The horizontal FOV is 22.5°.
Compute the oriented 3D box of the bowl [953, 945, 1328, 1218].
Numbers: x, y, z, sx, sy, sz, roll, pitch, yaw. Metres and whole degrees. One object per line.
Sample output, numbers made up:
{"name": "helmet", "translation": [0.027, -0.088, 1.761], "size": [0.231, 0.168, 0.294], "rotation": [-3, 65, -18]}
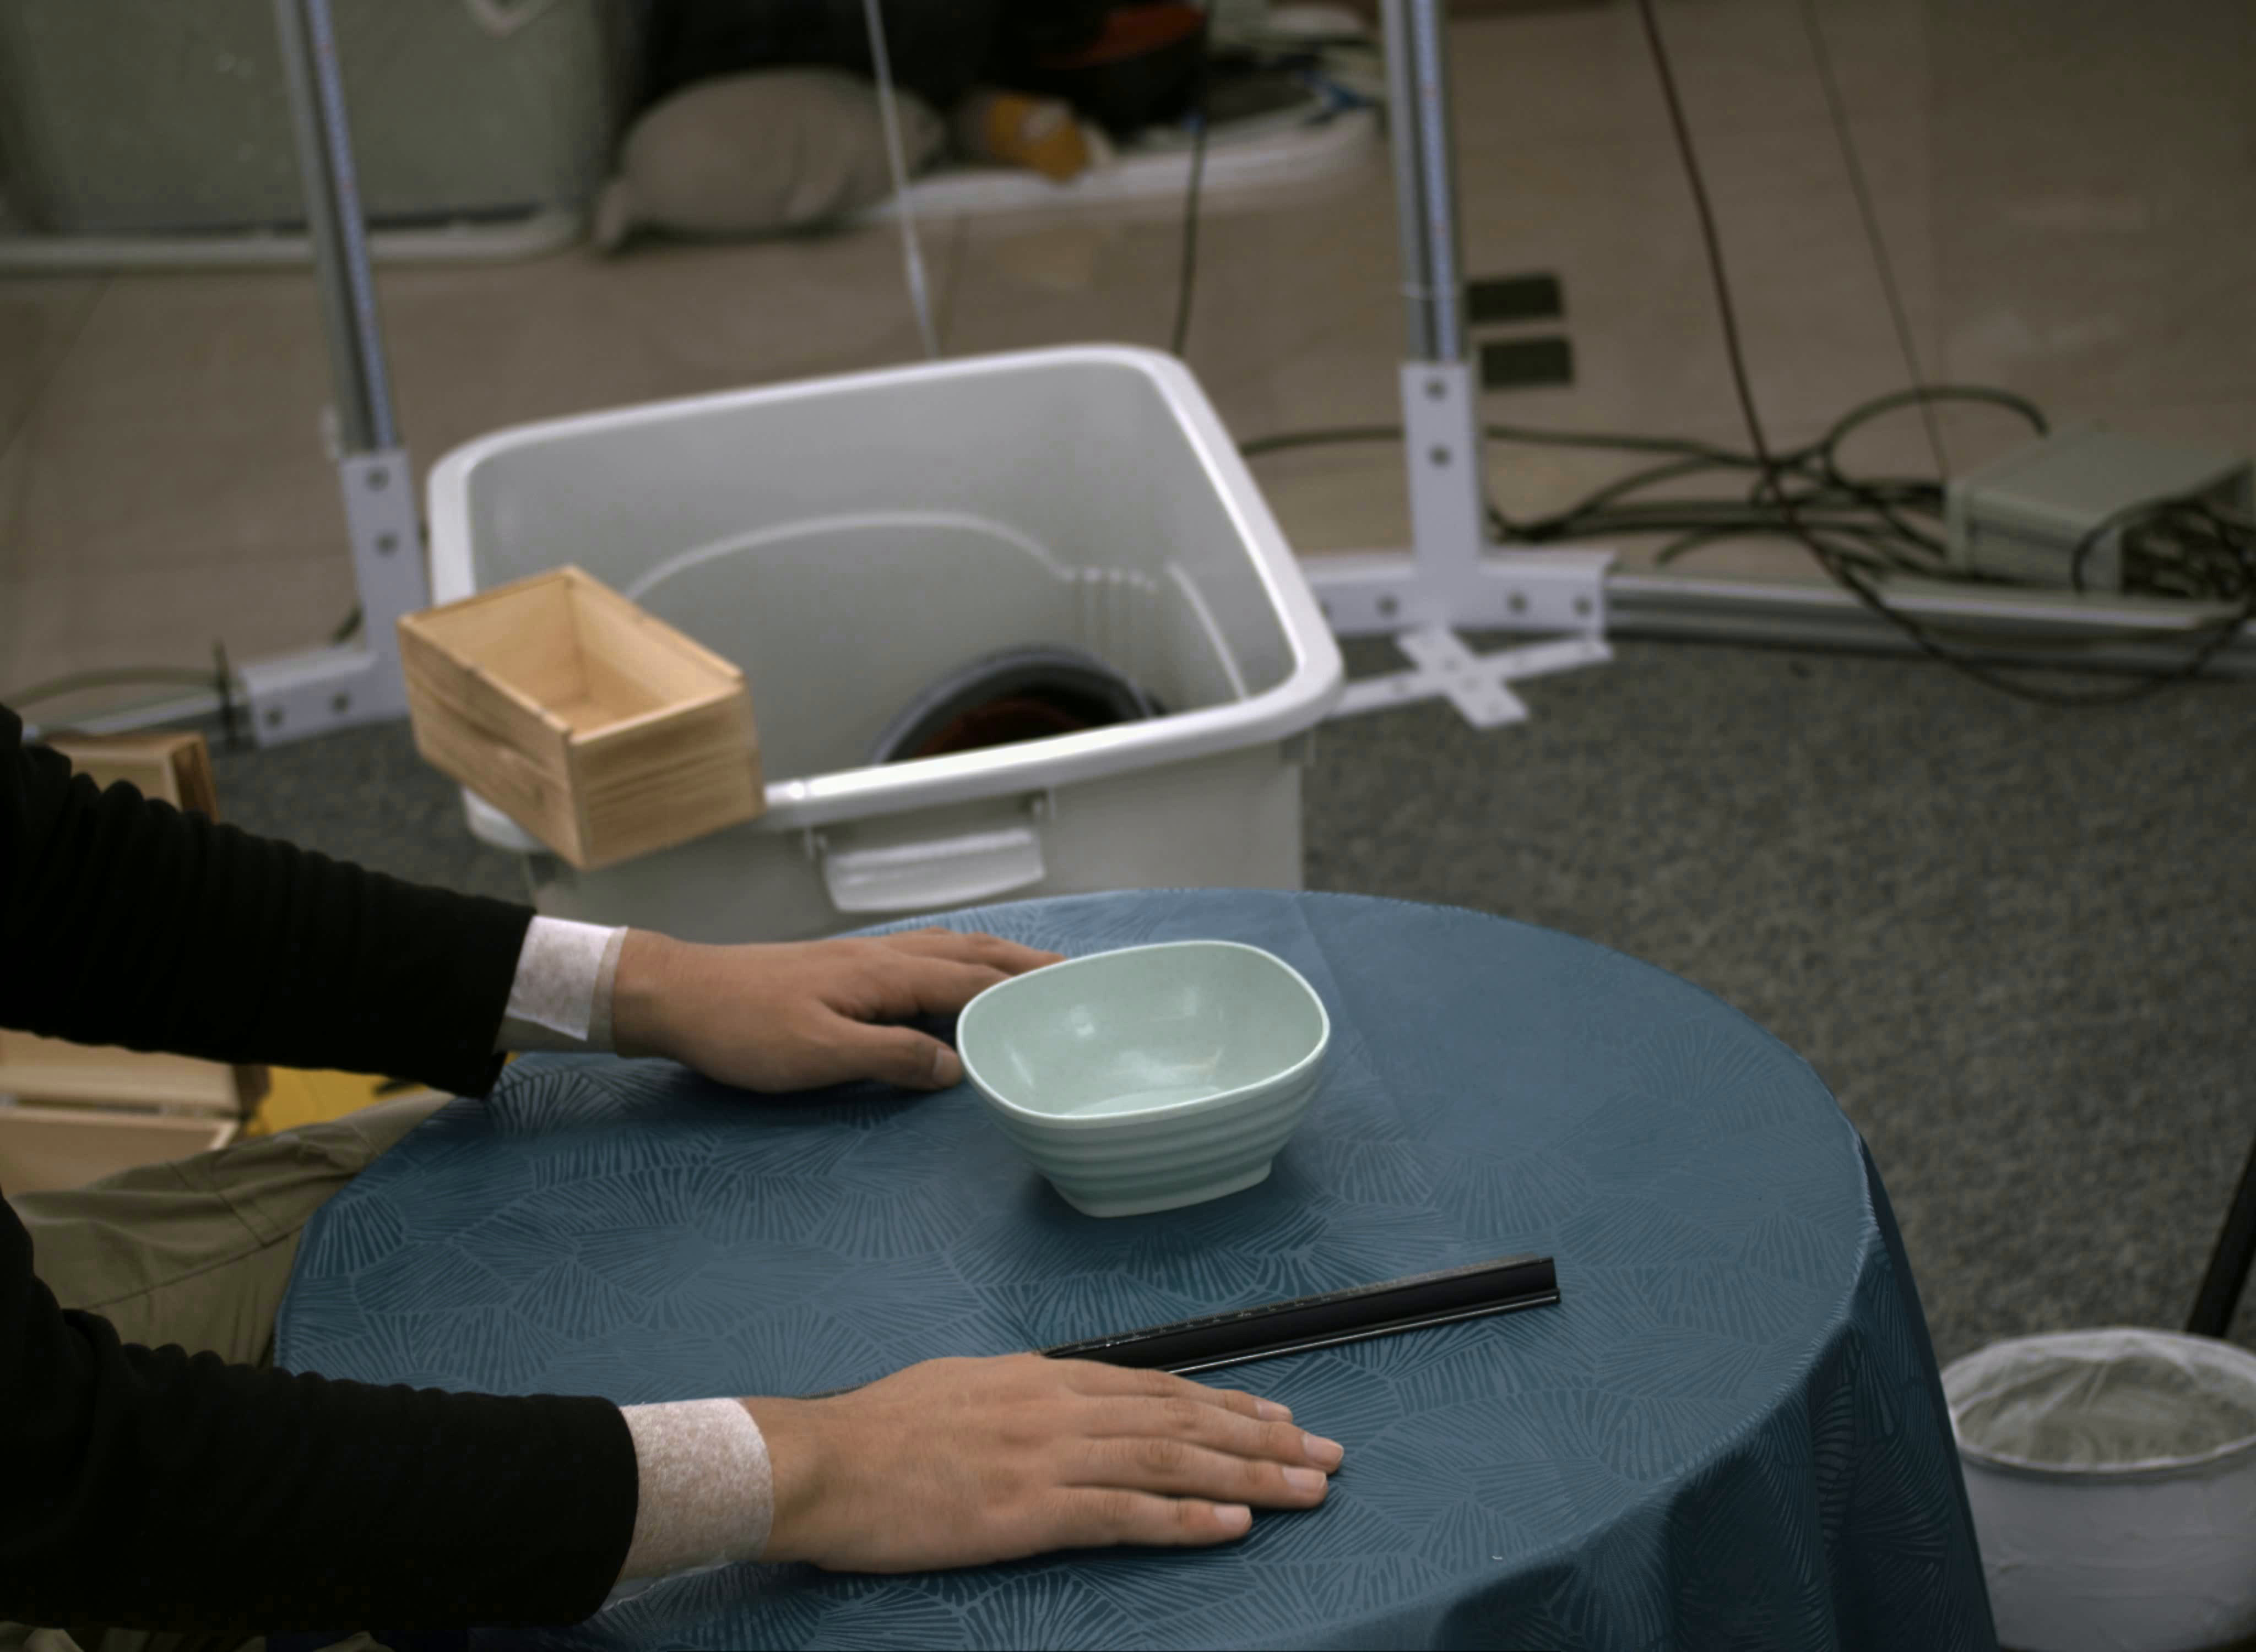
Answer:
{"name": "bowl", "translation": [0.006, 0.103, 2.158], "size": [0.151, 0.059, 0.149], "rotation": [-3, 25, 2]}

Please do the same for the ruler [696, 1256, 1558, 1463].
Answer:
{"name": "ruler", "translation": [0.000, 0.184, 2.033], "size": [0.312, 0.017, 0.039], "rotation": [-10, 21, -8]}
